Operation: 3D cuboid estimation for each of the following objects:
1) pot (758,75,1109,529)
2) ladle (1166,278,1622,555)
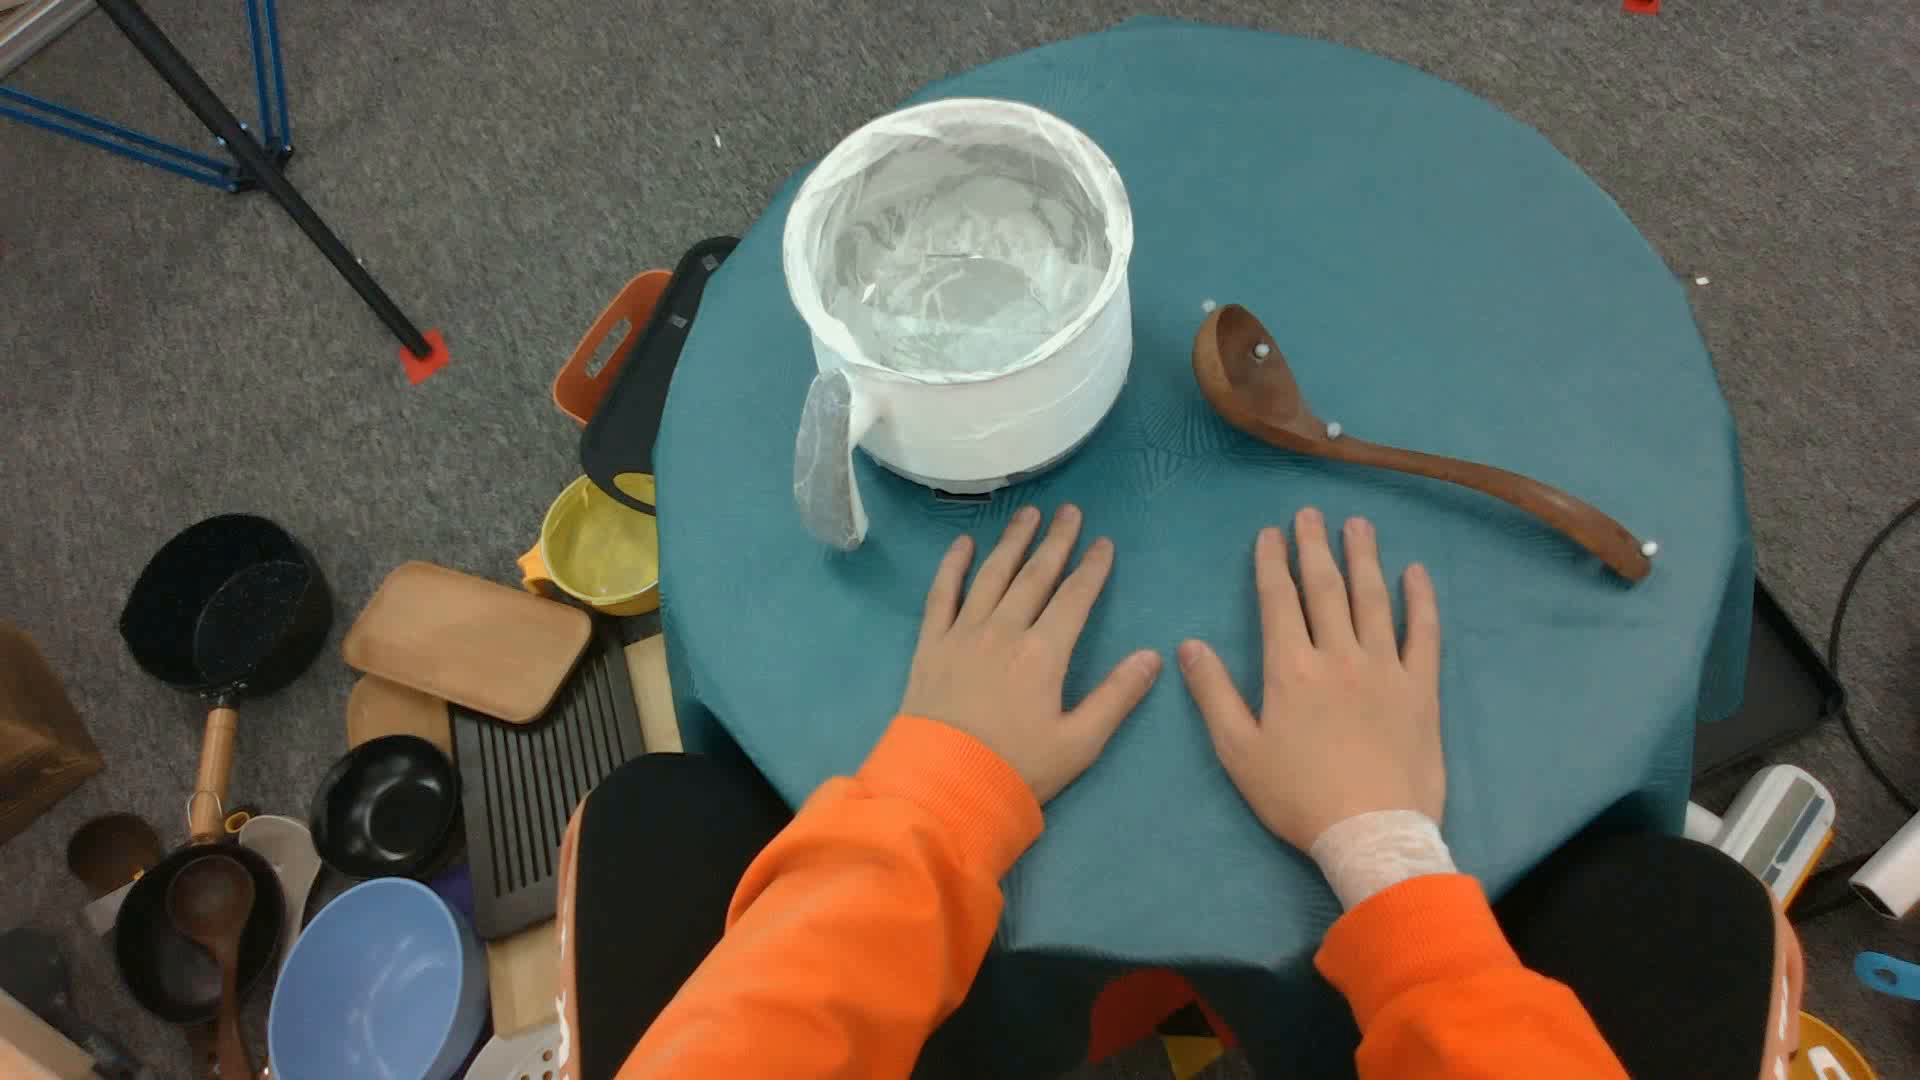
[{"bbox_3d":[-0.023,-0.117,0.737,0.178,0.136,0.234,29,71,18],"label":"pot"},{"bbox_3d":[0.230,-0.067,0.730,0.260,0.065,0.077,24,44,17],"label":"ladle"}]
